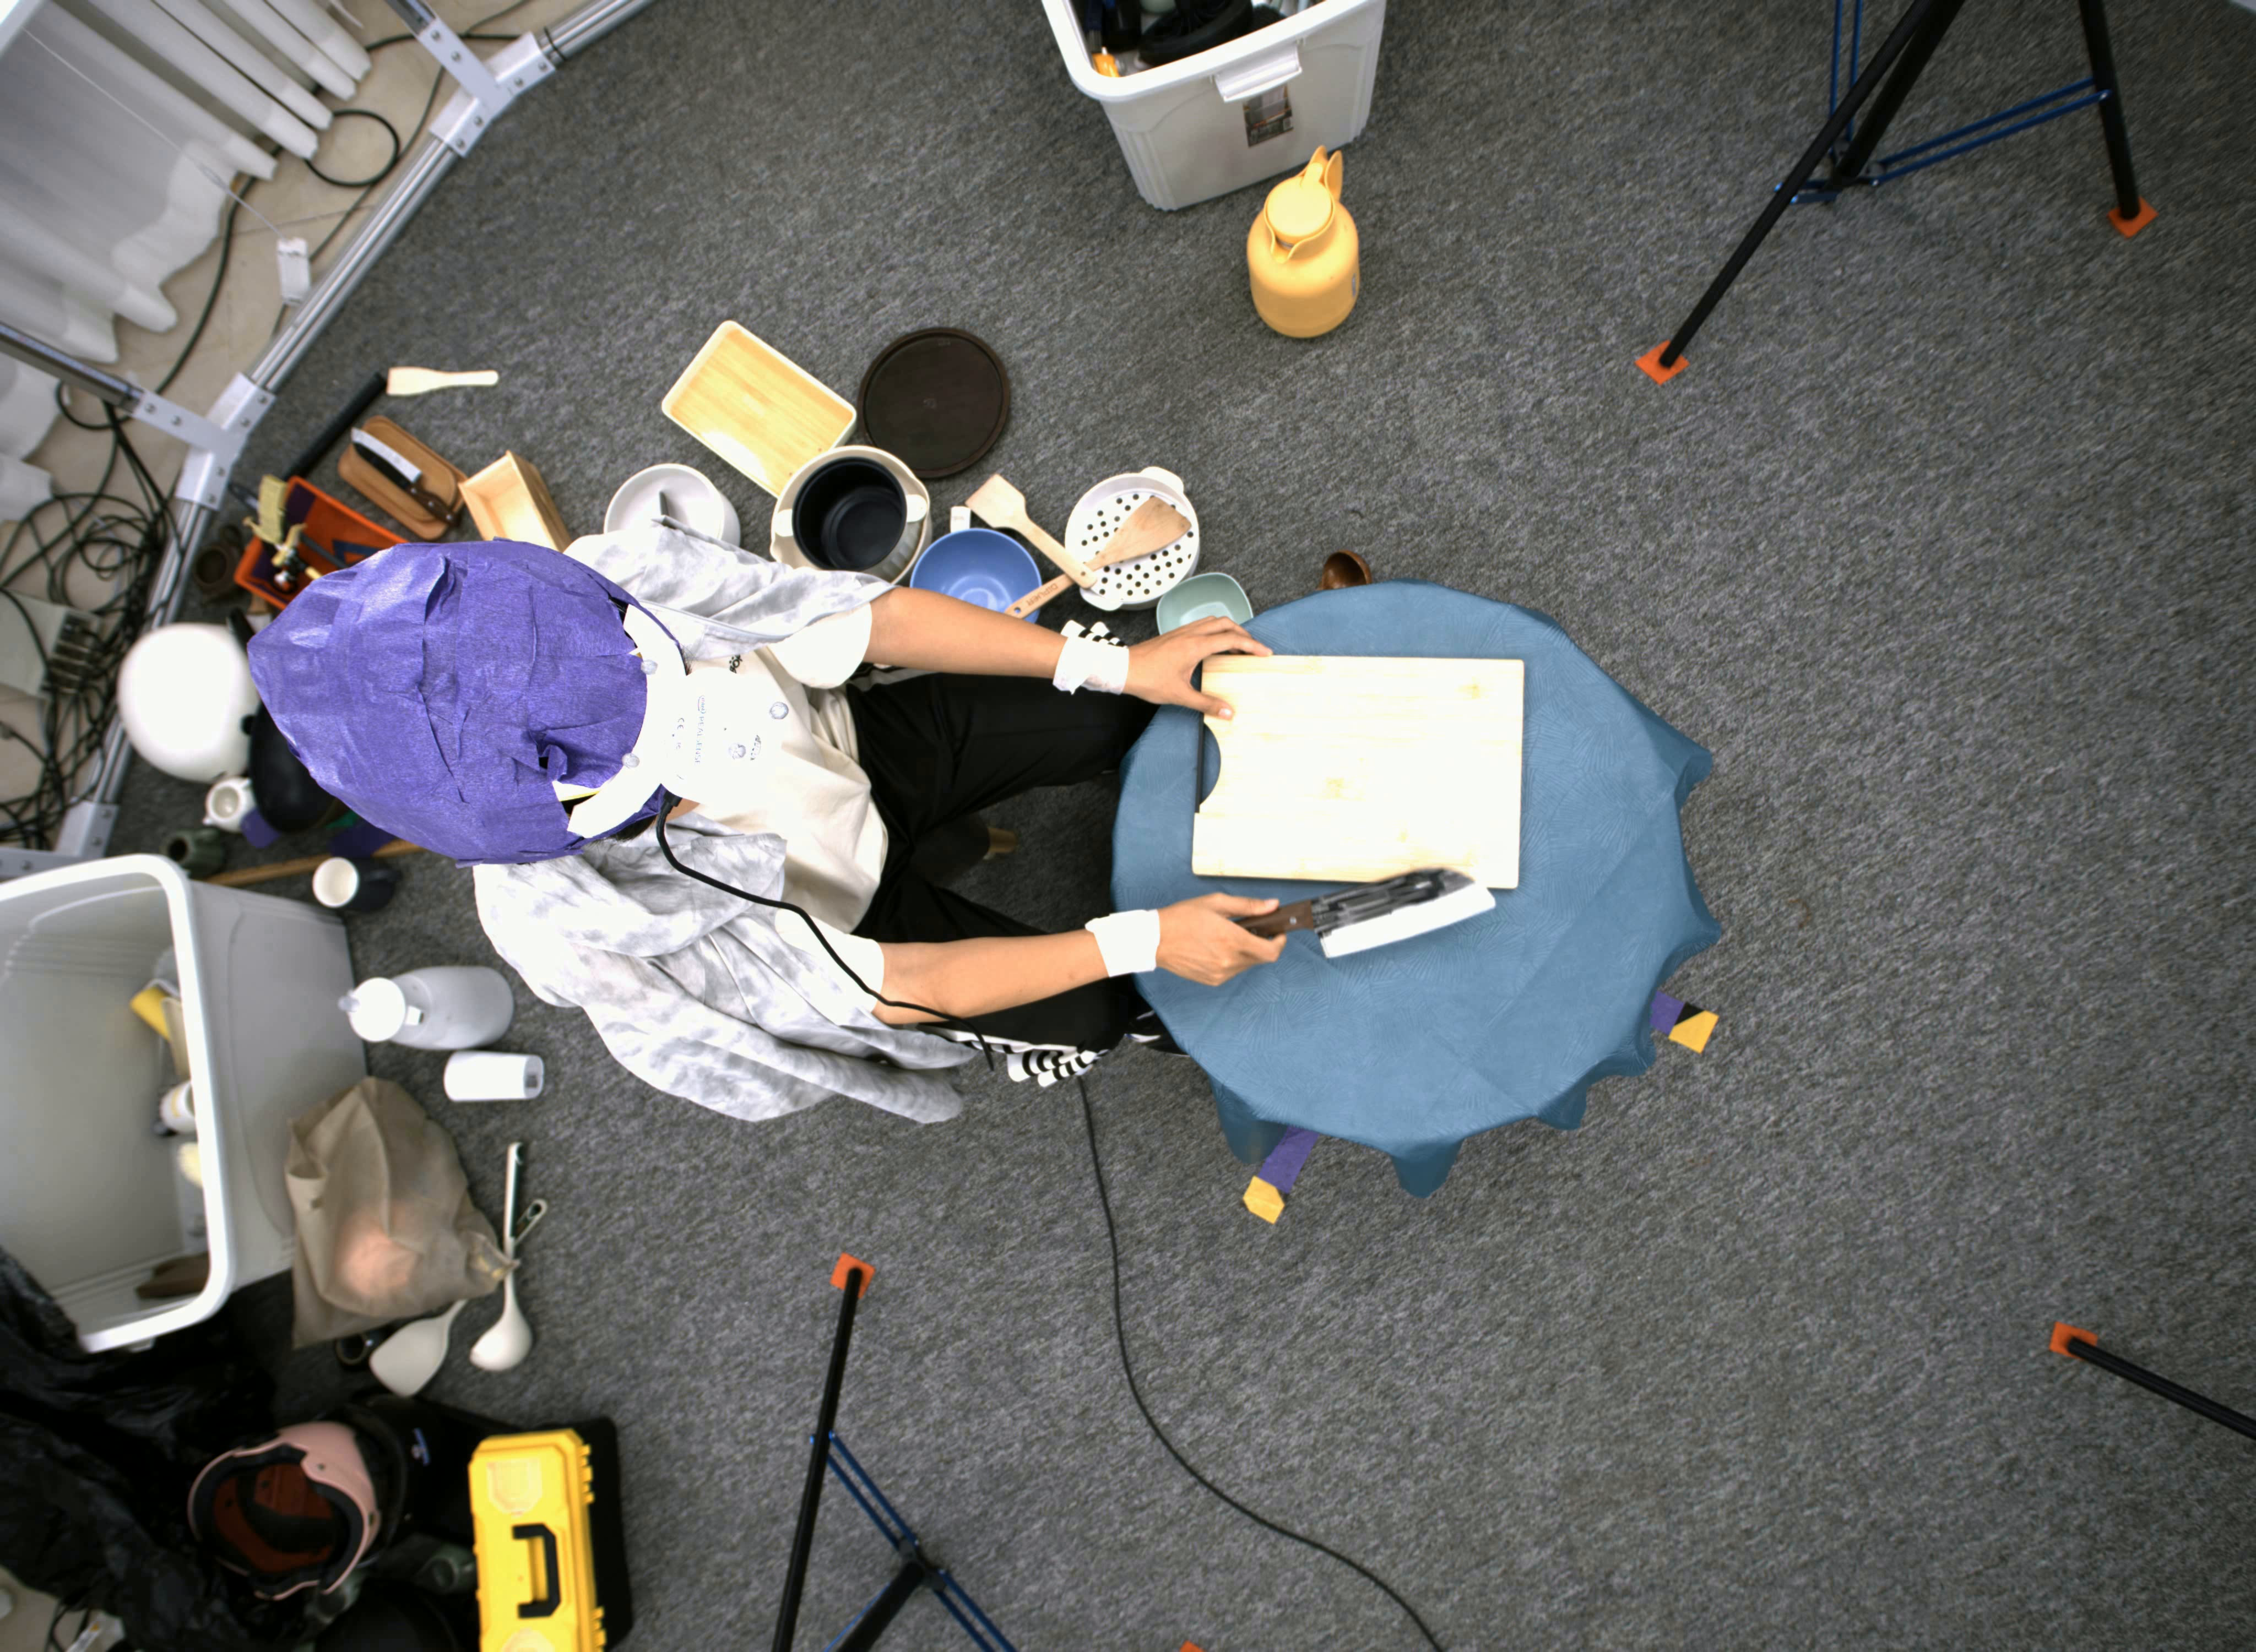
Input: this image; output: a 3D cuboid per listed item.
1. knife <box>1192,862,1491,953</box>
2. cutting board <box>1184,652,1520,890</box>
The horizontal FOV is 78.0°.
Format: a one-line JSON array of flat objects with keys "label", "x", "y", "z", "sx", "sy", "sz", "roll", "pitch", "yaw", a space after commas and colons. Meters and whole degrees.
[{"label": "knife", "x": 0.214, "y": 0.090, "z": 1.392, "sx": 0.301, "sy": 0.023, "sz": 0.069, "roll": -16, "pitch": 112, "yaw": 10}, {"label": "cutting board", "x": 0.237, "y": -0.063, "z": 1.464, "sx": 0.350, "sy": 0.023, "sz": 0.249, "roll": 1, "pitch": 87, "yaw": 11}]
